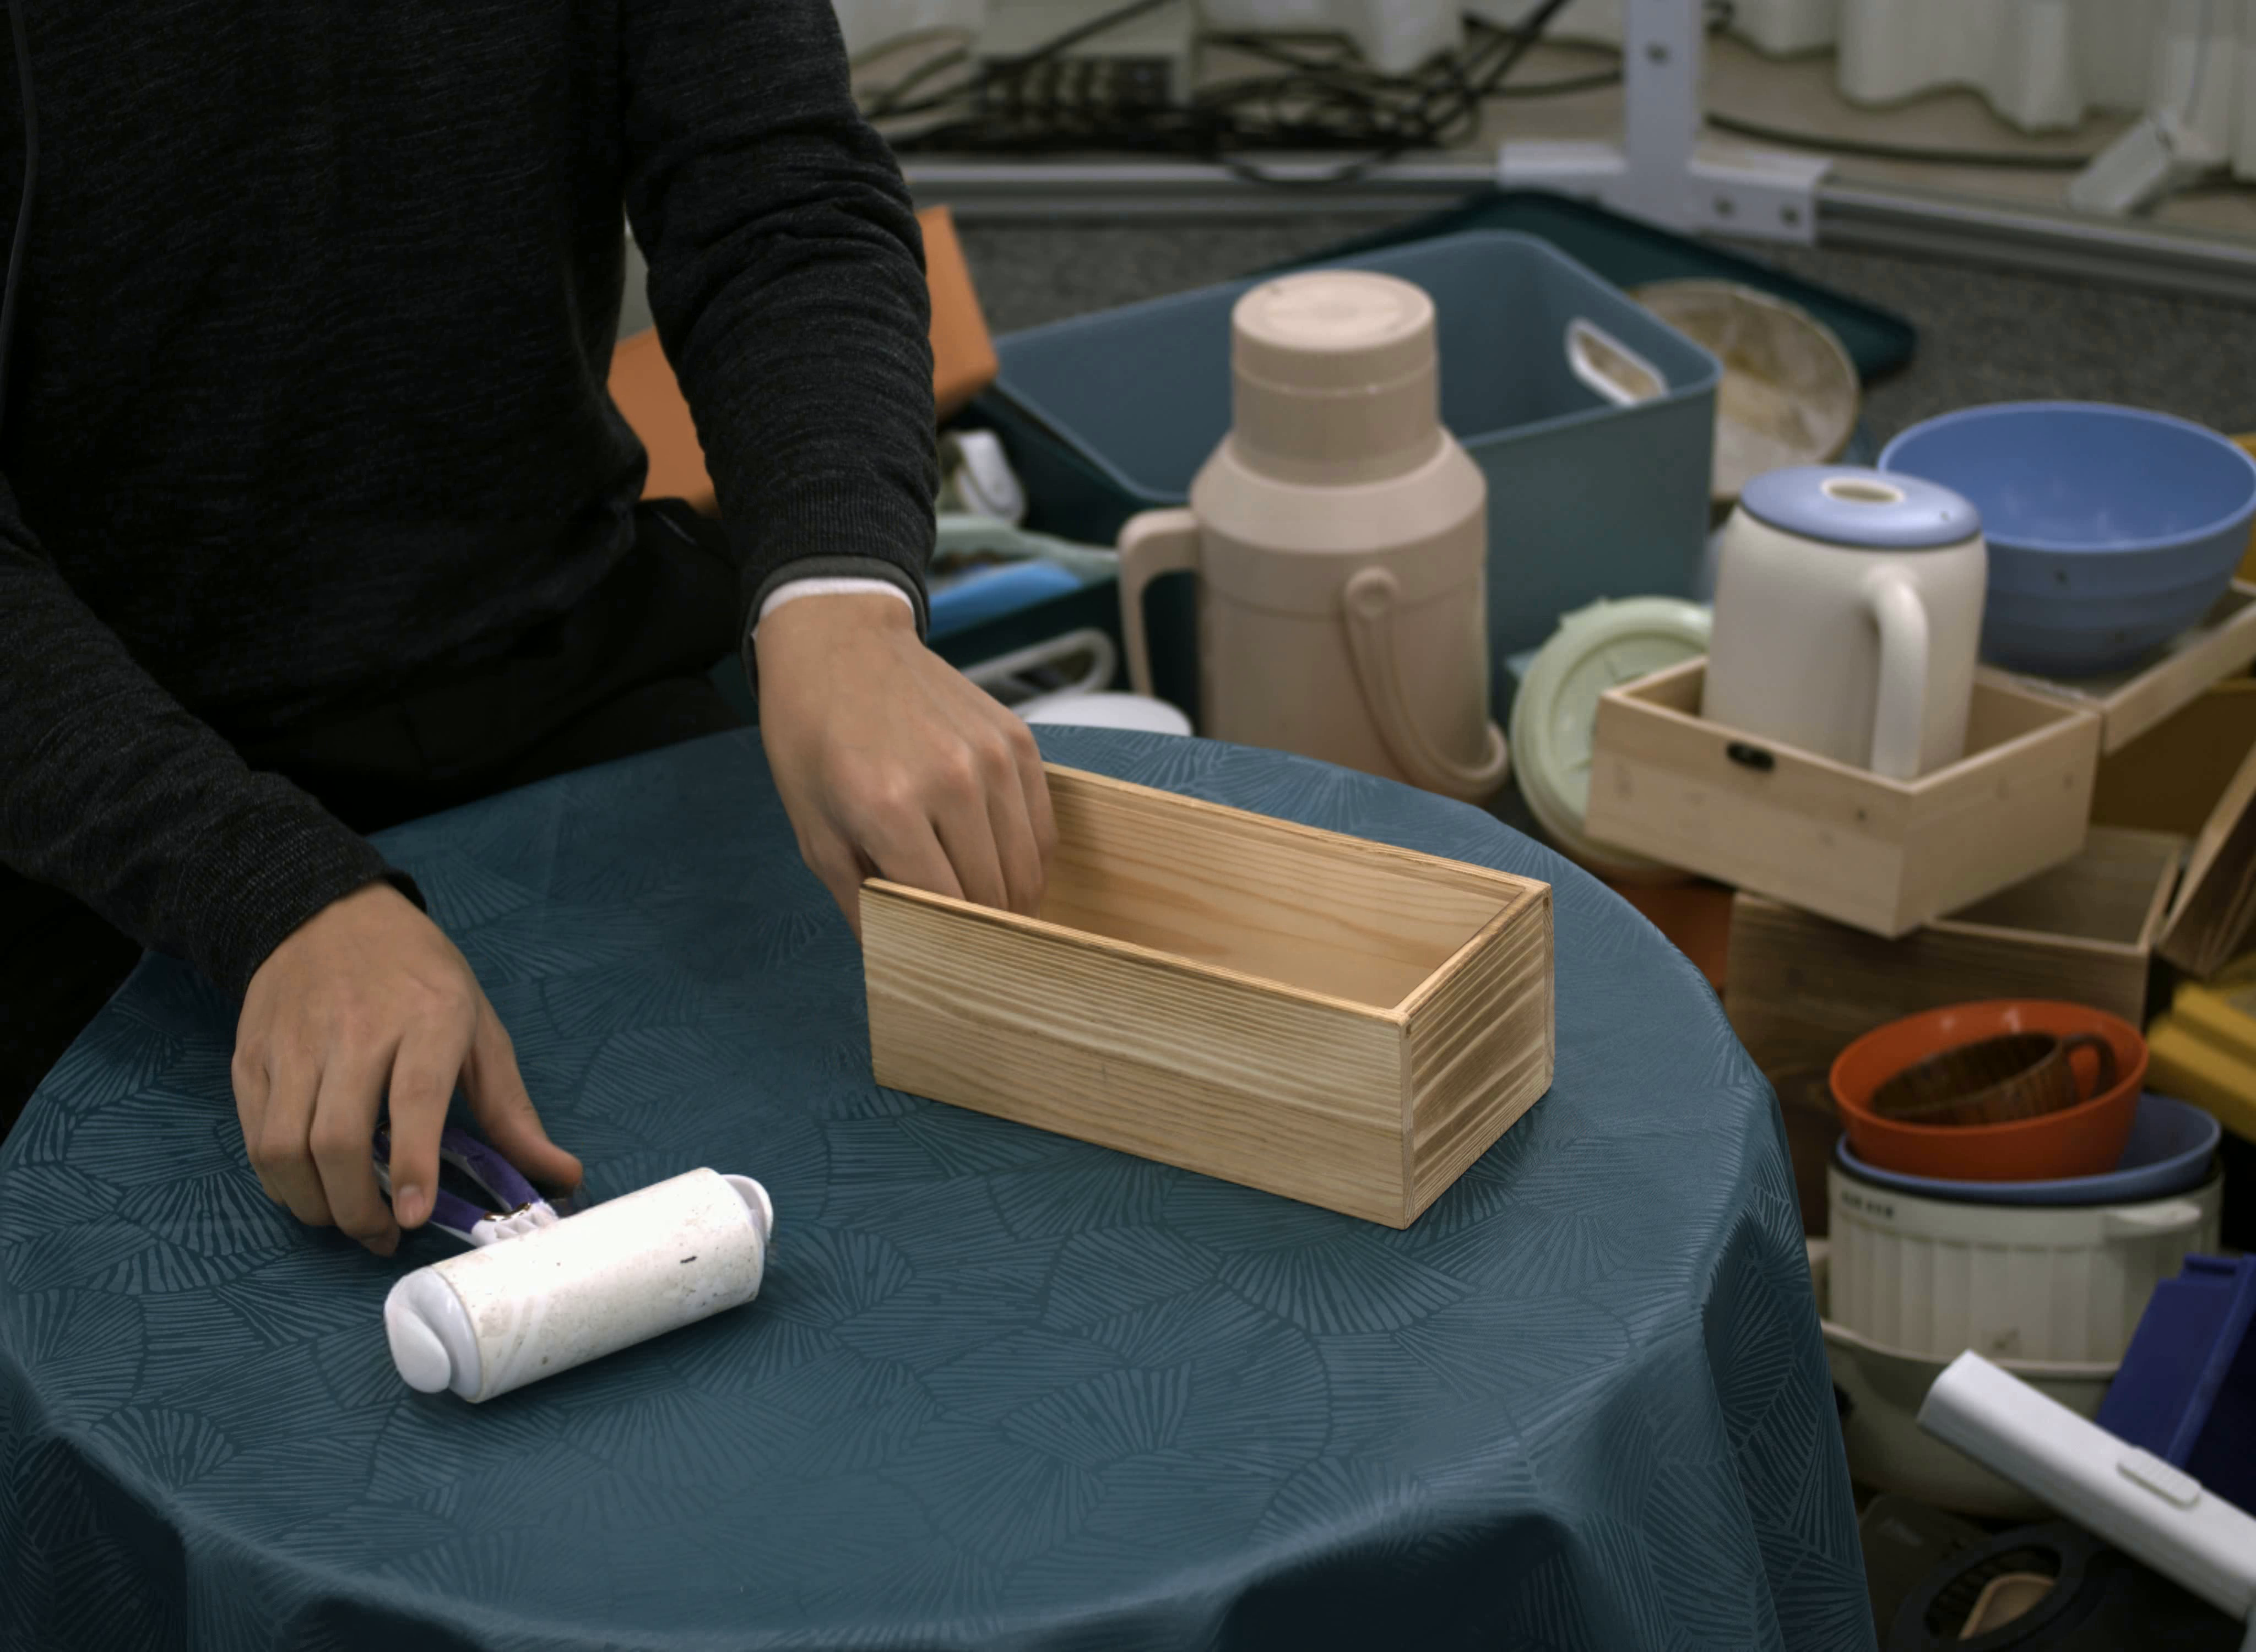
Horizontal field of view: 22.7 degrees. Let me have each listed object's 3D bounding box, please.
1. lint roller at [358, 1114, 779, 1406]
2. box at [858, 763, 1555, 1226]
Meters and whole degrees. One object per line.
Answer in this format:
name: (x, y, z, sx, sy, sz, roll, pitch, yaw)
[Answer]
lint roller: (-0.205, 0.121, 1.833, 0.134, 0.049, 0.181, -18, 33, -26)
box: (0.027, 0.055, 1.903, 0.210, 0.079, 0.109, 12, 31, 29)
